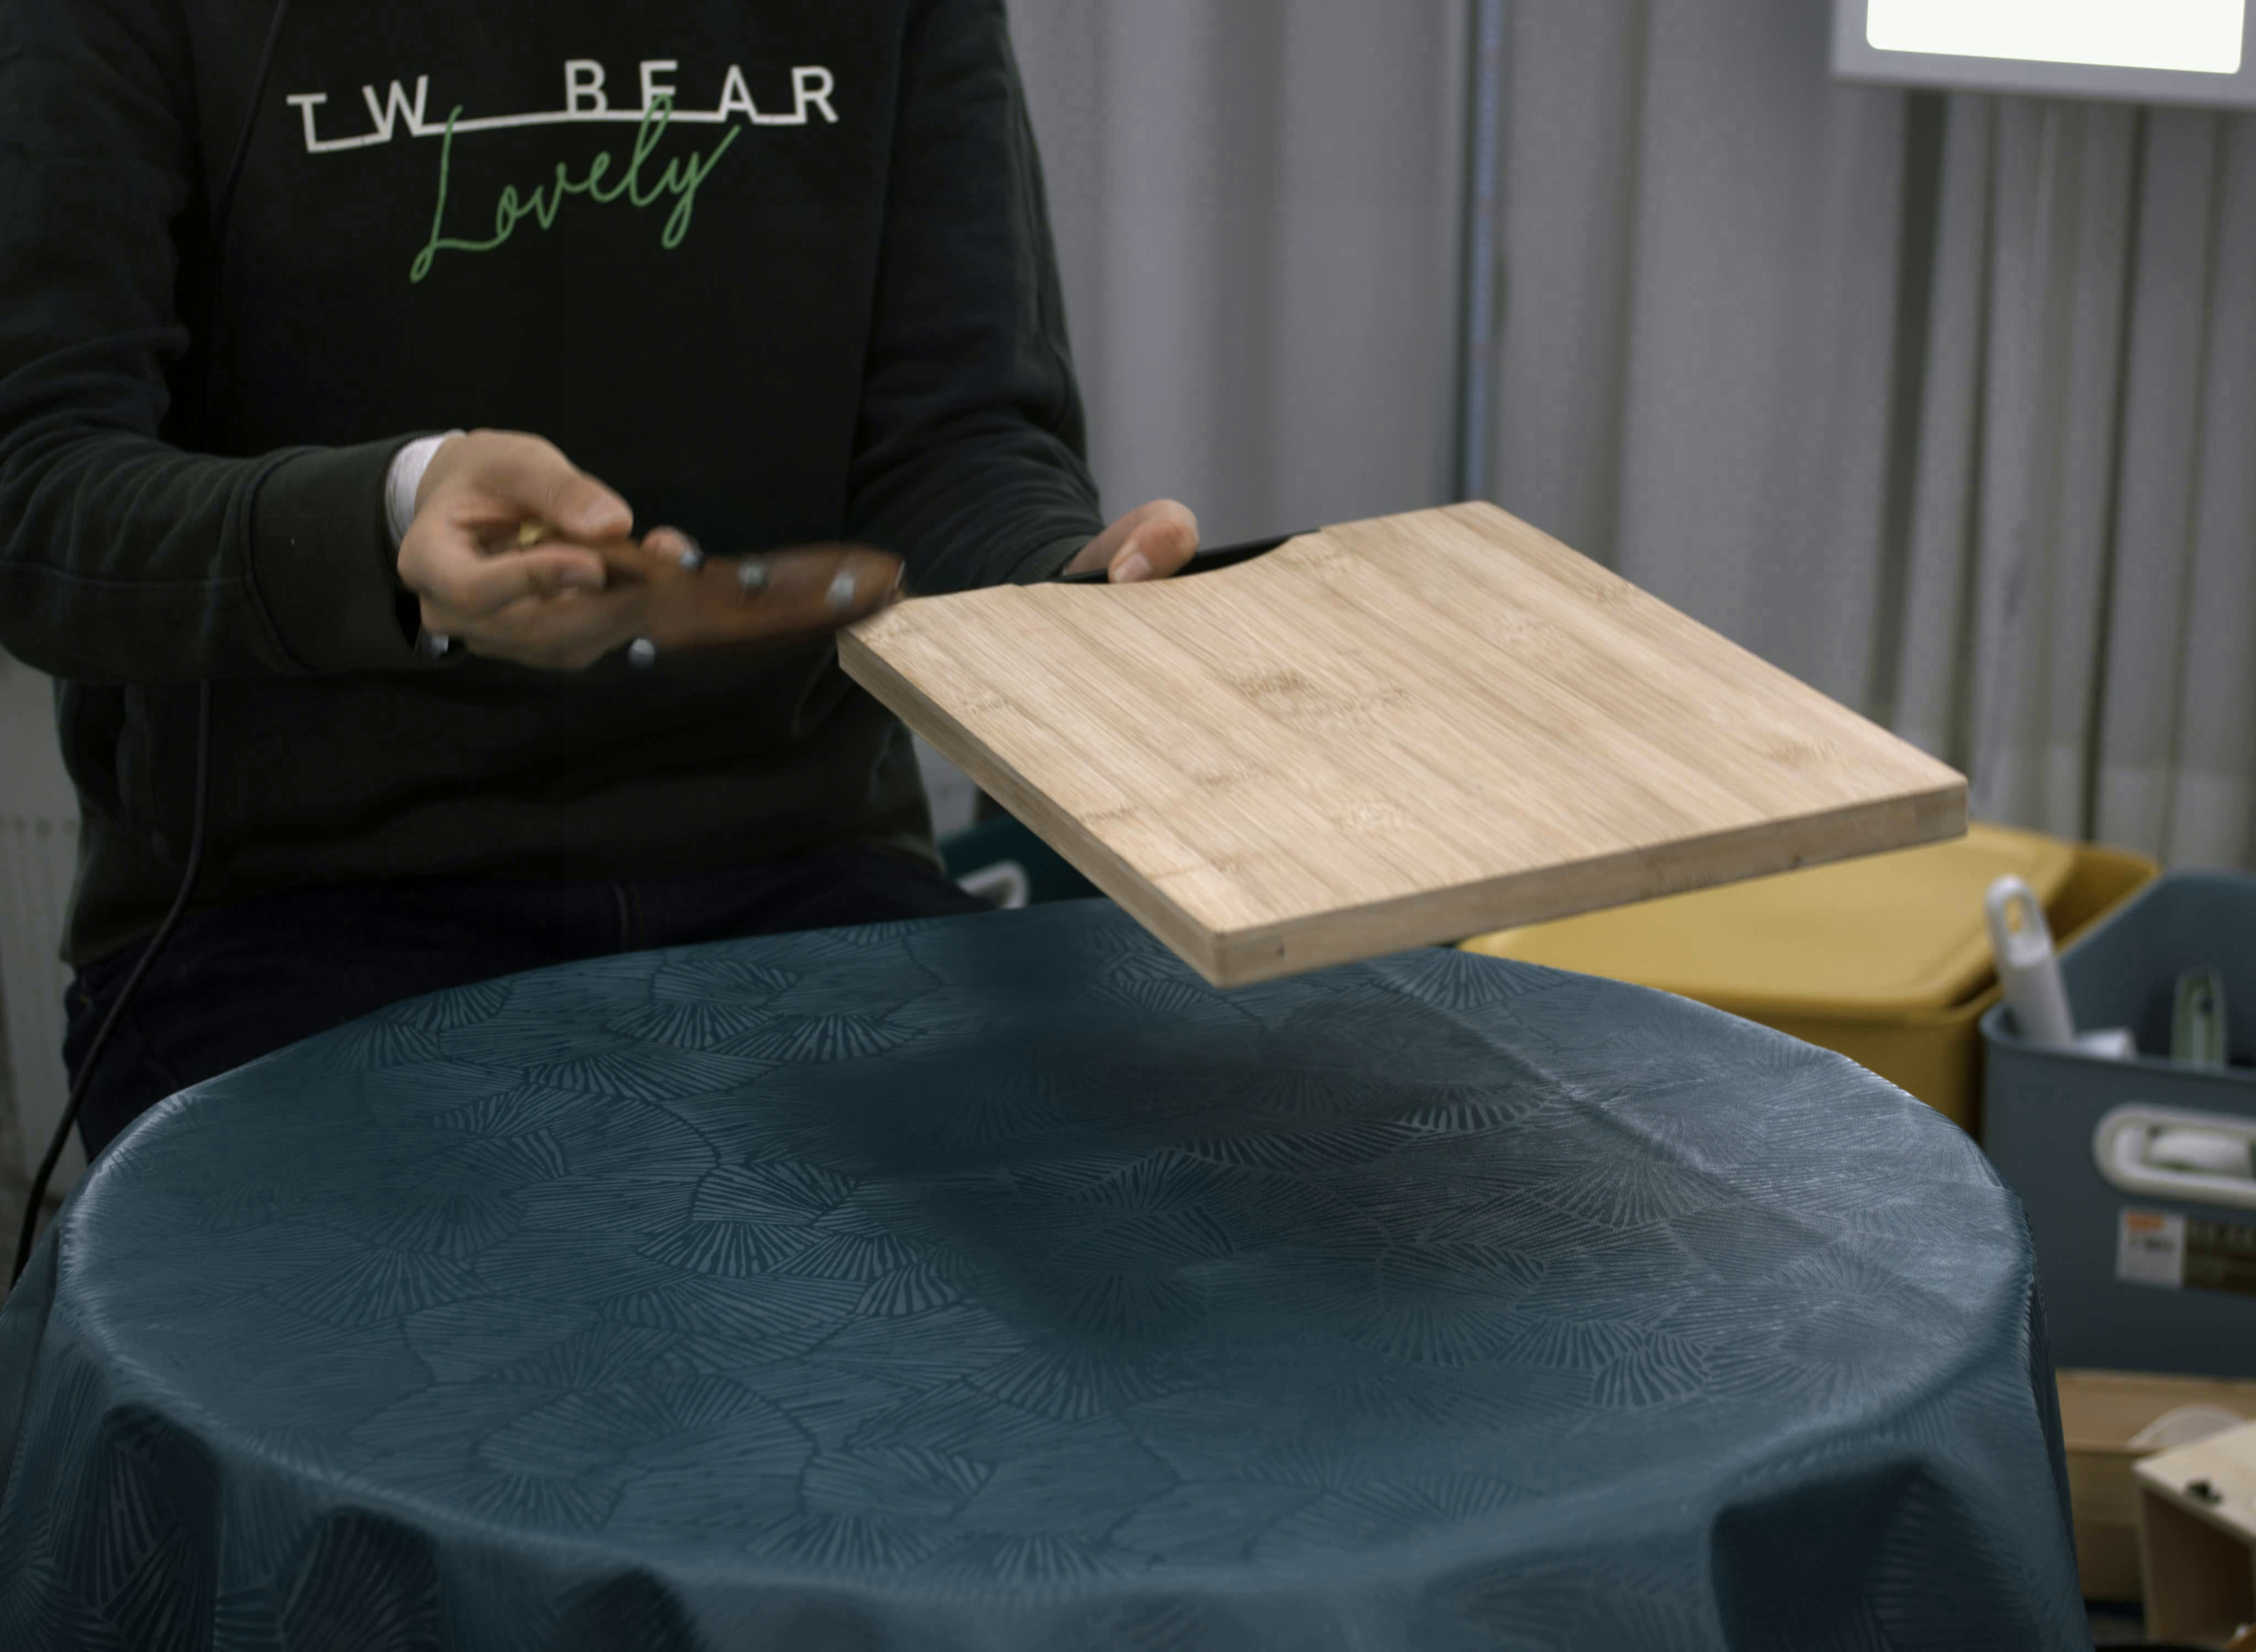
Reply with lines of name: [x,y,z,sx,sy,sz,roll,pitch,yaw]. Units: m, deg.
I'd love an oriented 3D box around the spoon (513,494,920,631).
spoon: [-0.131,-0.082,1.588,0.075,0.017,0.213,-23,21,-27]

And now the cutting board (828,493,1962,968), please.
cutting board: [0.072,-0.037,1.653,0.251,0.024,0.344,-11,21,-20]
